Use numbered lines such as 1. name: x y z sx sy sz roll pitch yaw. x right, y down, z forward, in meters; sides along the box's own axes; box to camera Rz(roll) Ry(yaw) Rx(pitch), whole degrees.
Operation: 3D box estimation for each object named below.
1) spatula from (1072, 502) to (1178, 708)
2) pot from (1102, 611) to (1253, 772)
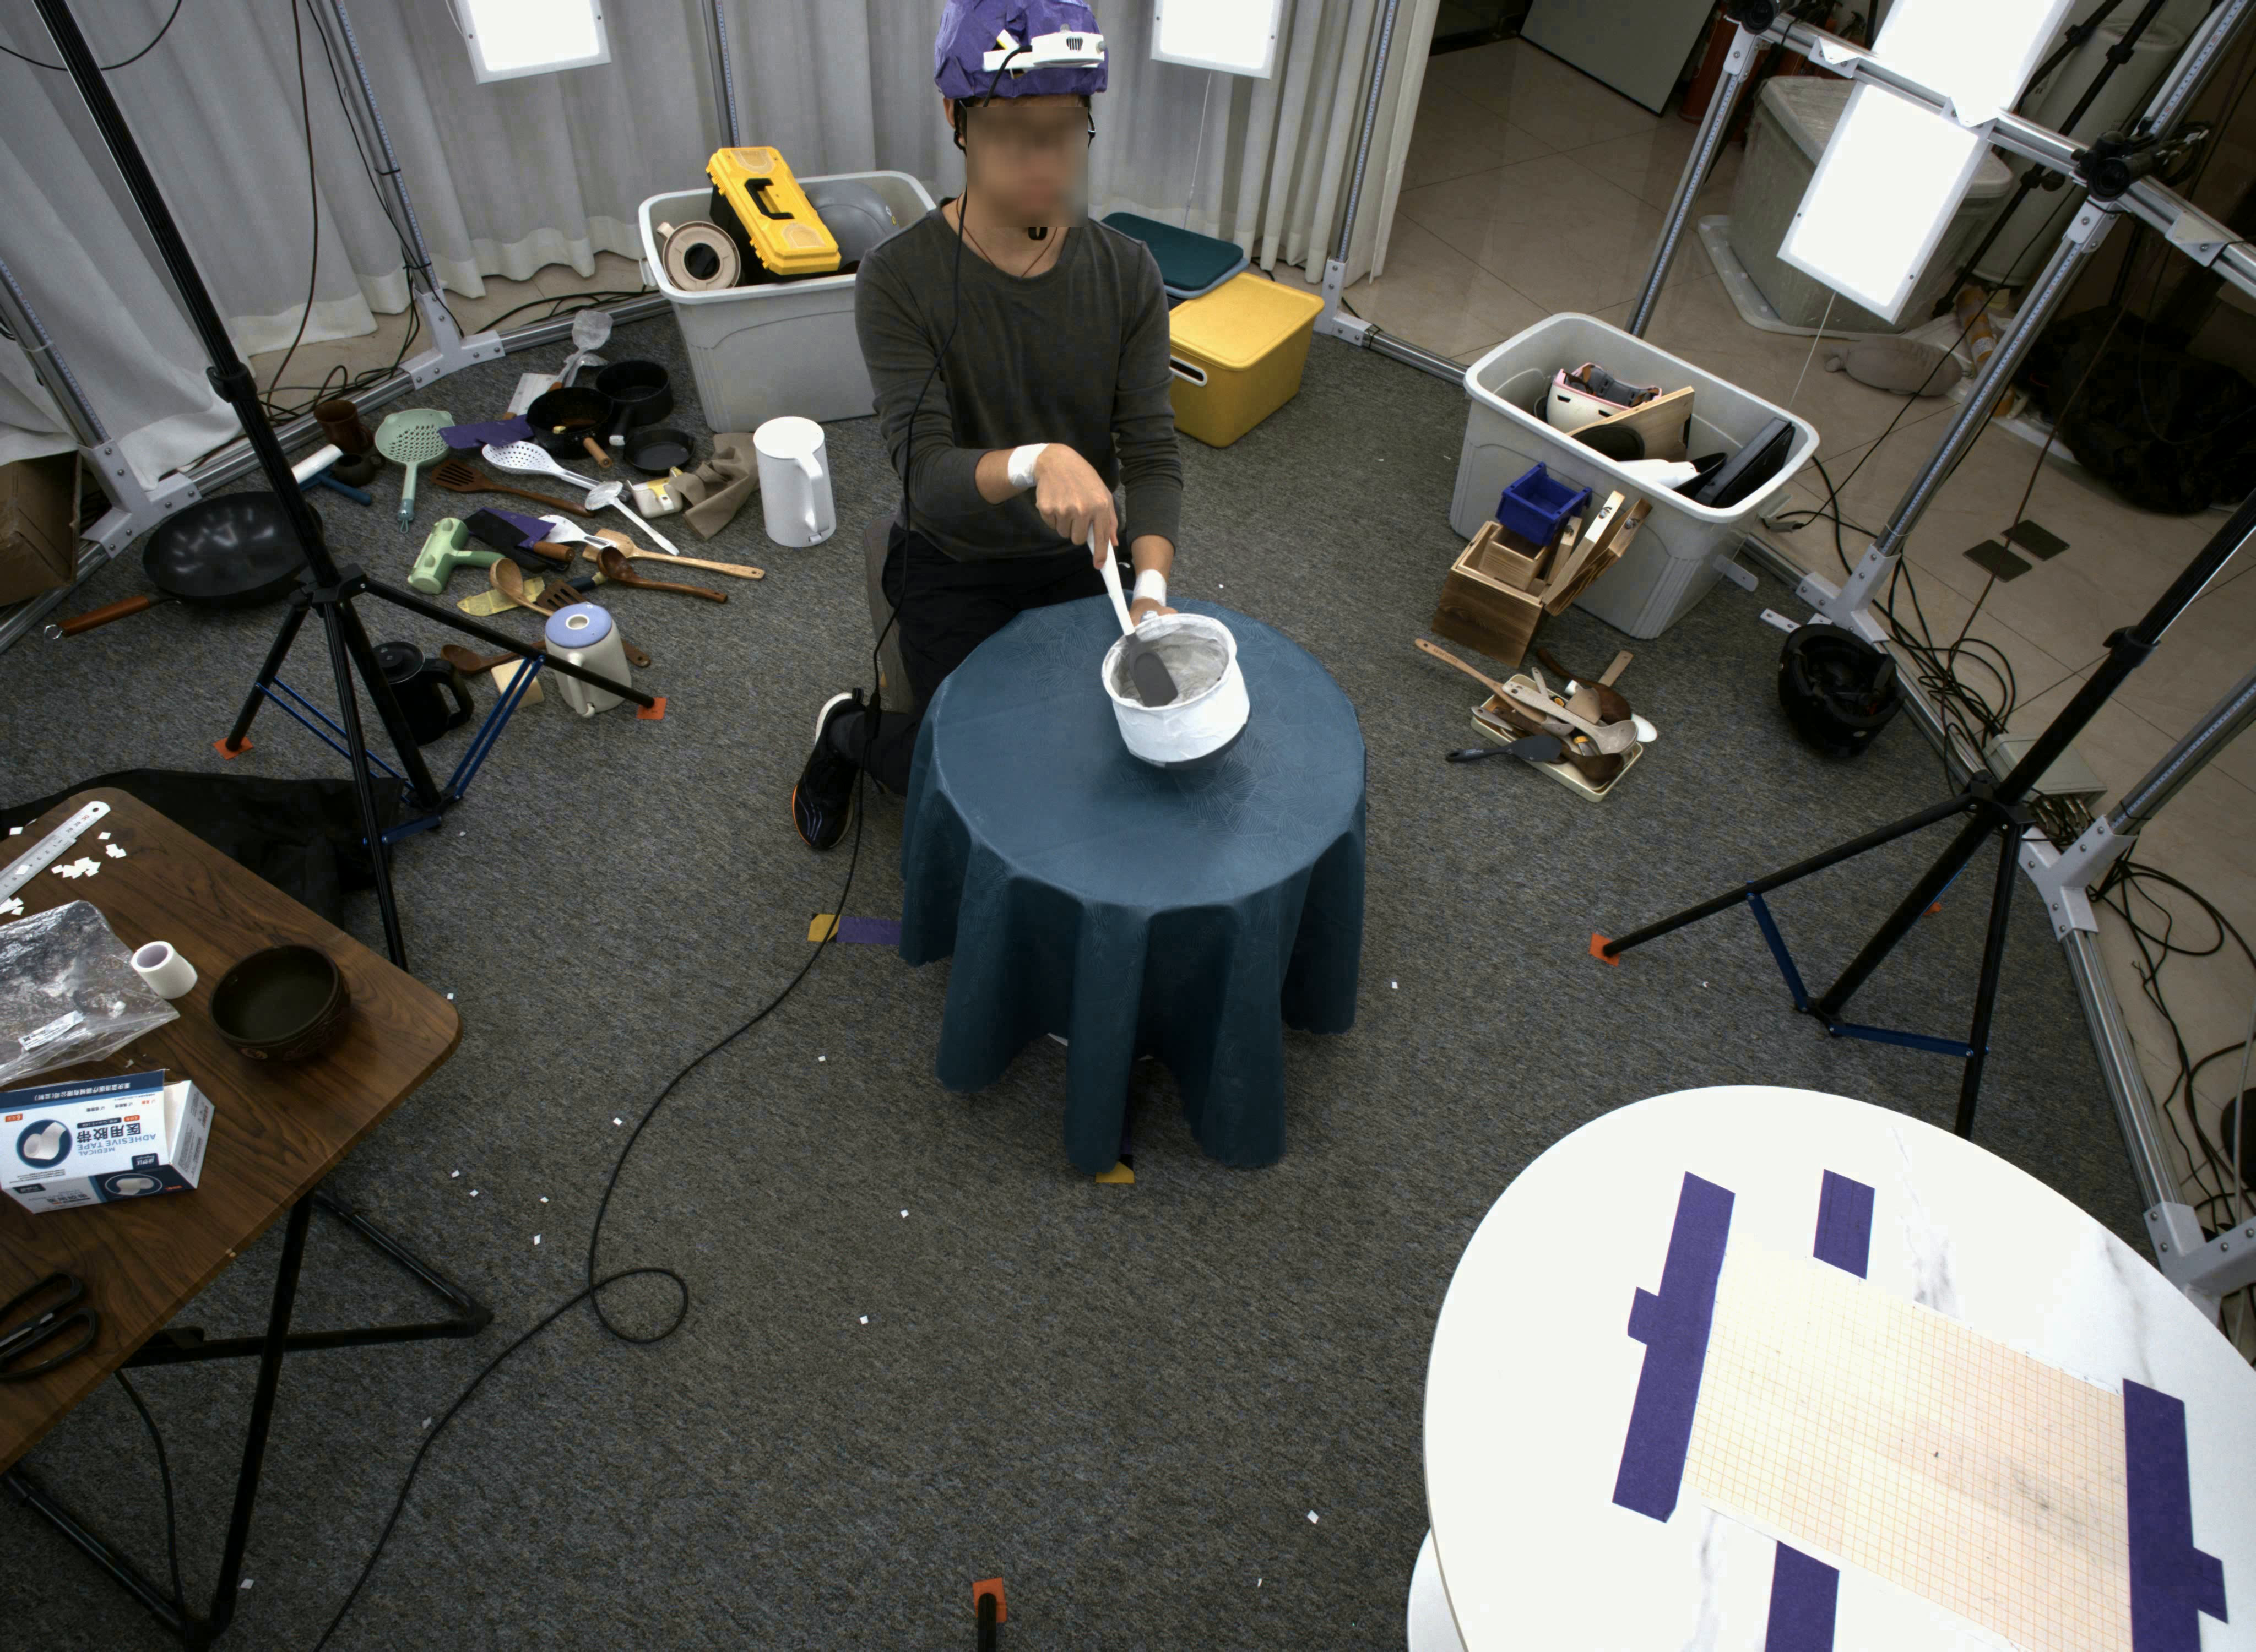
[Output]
1. spatula: -0.005 -0.275 1.646 0.059 0.282 0.032 -33 26 -23
2. pot: 0.060 -0.189 1.693 0.178 0.133 0.239 -20 47 1
